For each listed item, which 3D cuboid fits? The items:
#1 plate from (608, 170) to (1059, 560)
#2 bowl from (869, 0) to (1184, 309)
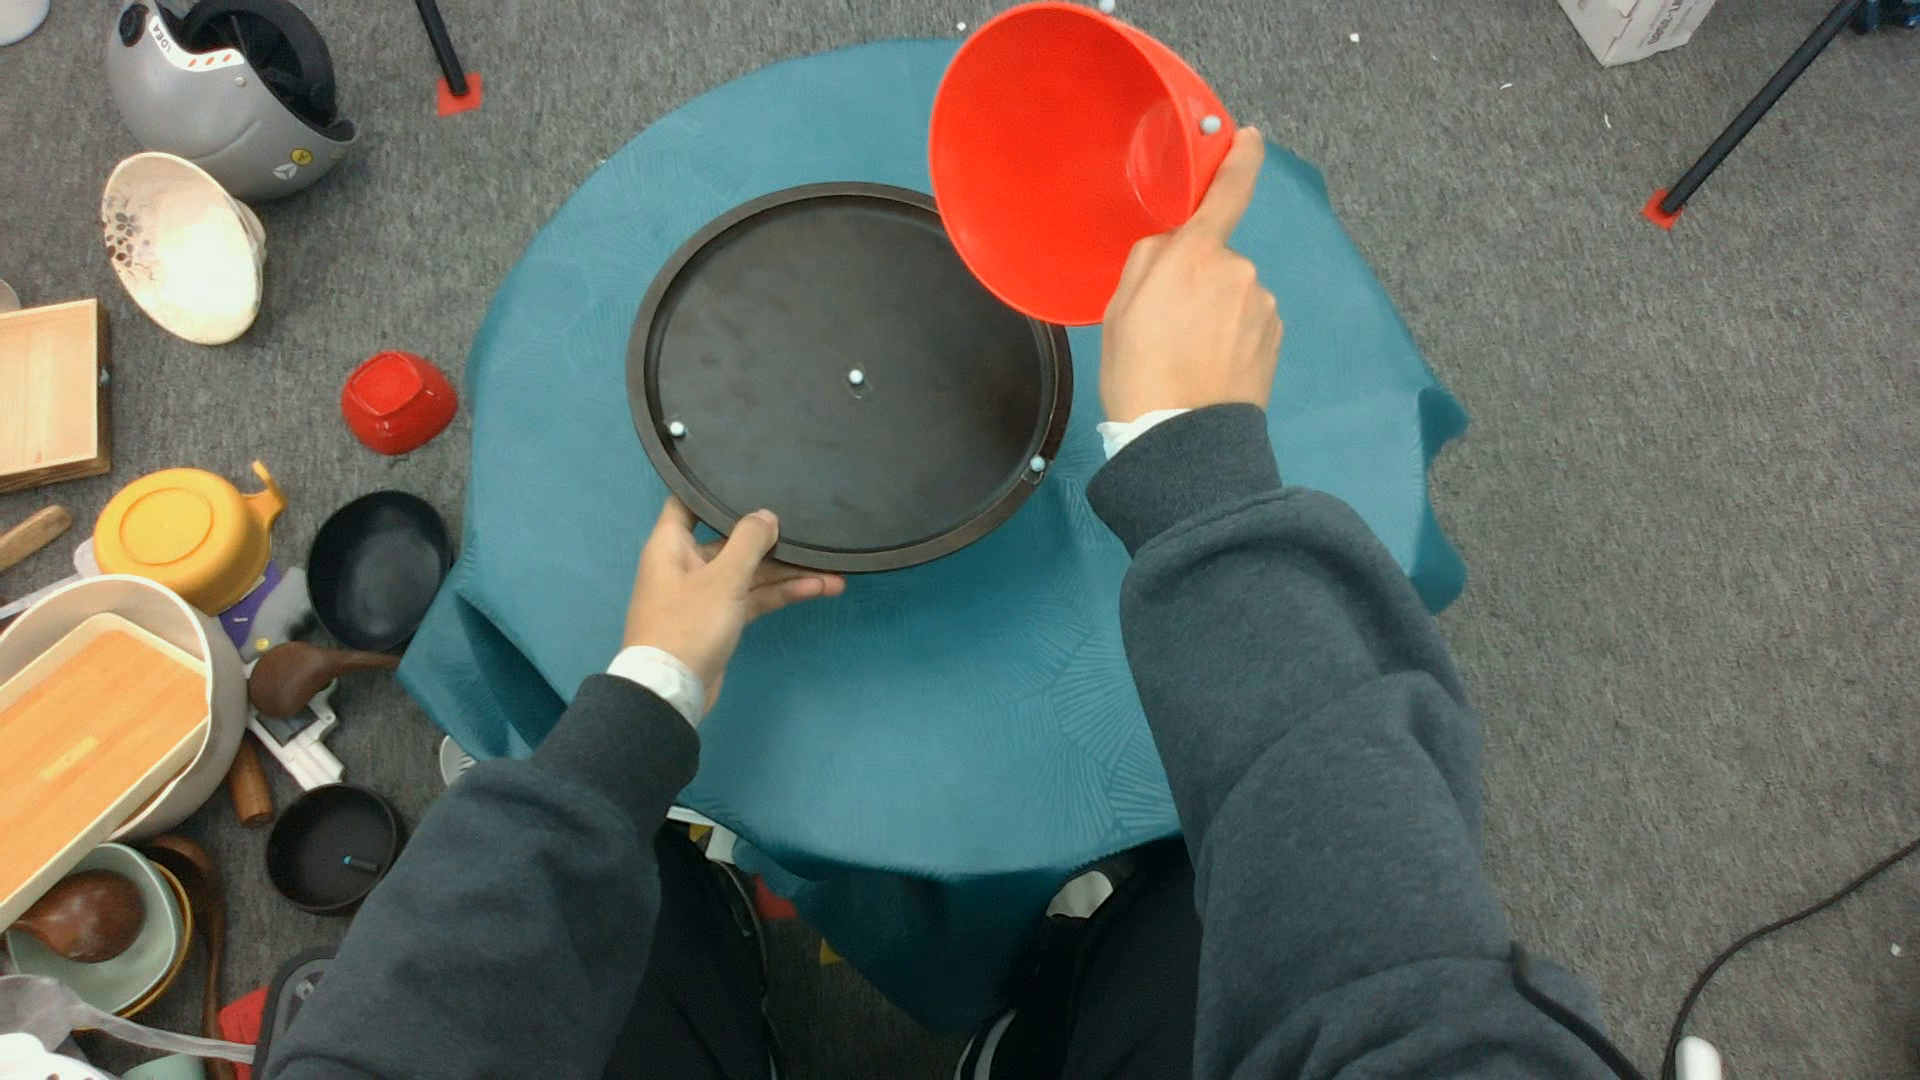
[{"bbox_3d":[-0.070,-0.104,0.784,0.255,0.029,0.255,3,66,-6],"label":"plate"},{"bbox_3d":[0.045,-0.180,0.669,0.147,0.105,0.148,-1,89,33],"label":"bowl"}]
